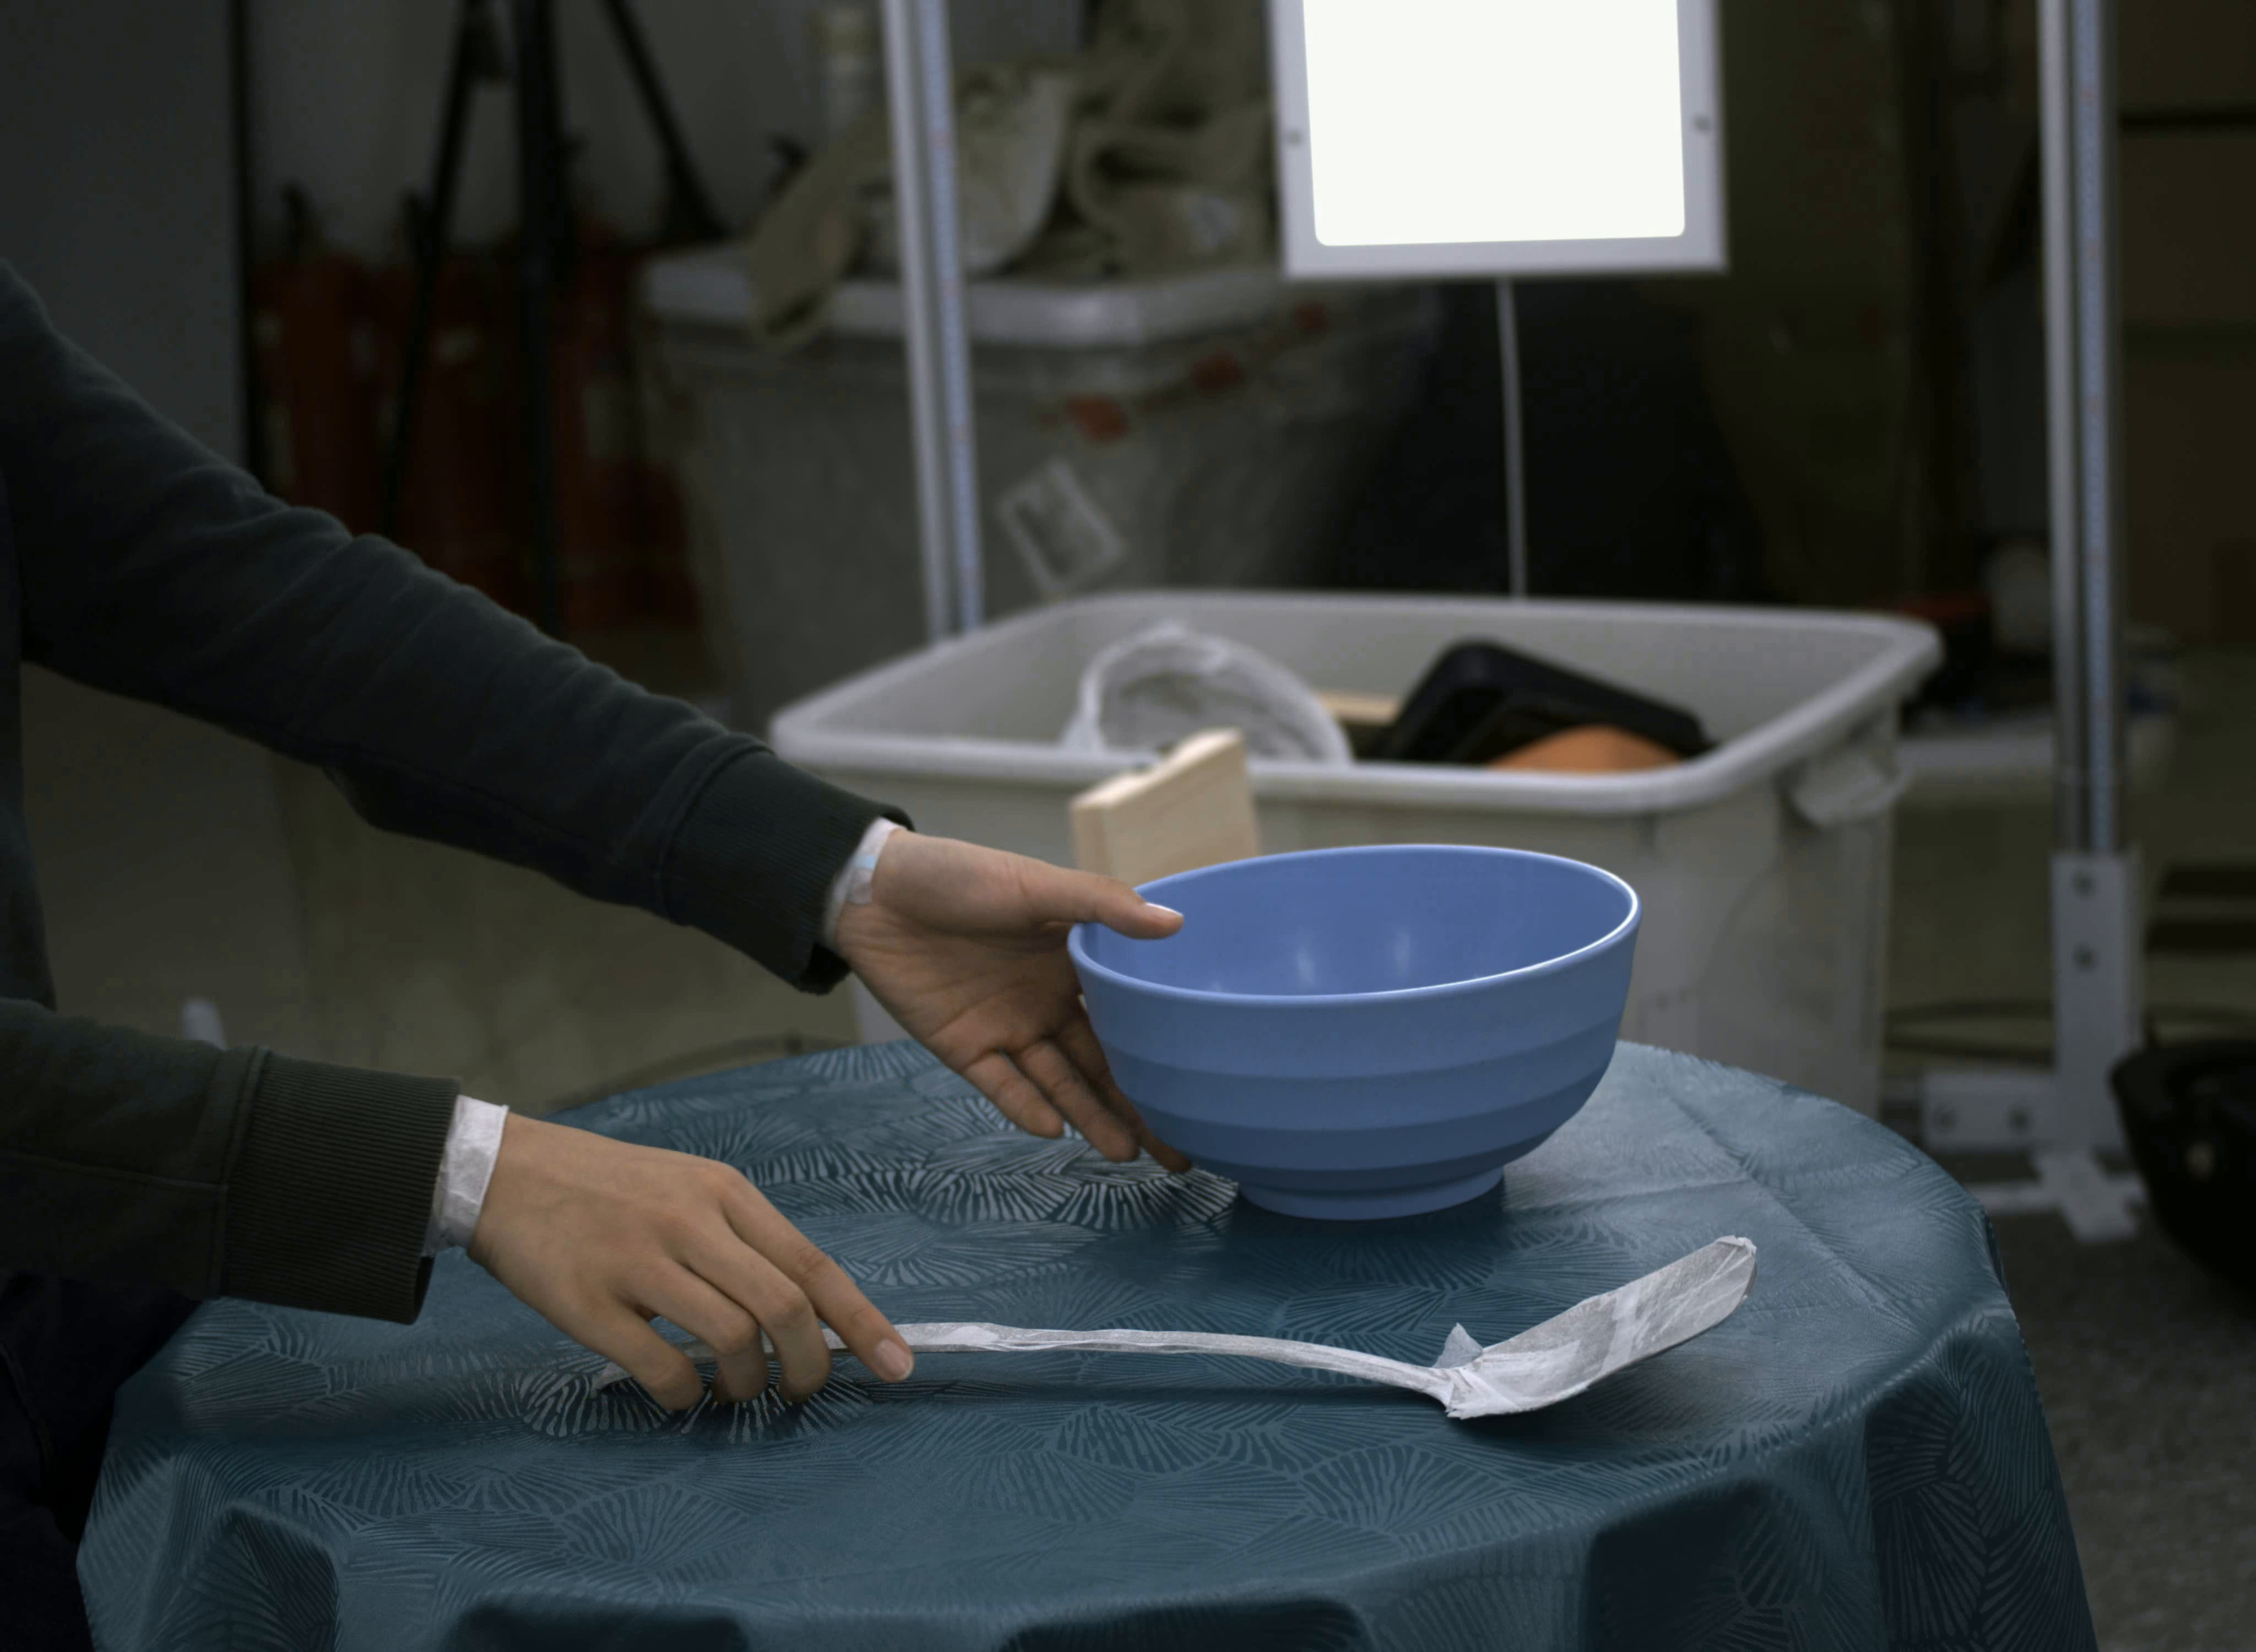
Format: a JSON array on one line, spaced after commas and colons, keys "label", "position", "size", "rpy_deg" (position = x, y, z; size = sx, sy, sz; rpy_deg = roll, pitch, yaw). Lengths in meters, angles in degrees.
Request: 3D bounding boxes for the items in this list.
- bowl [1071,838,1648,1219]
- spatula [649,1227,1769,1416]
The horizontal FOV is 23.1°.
[{"label": "bowl", "position": [0.080, 0.075, 1.877], "size": [0.196, 0.096, 0.196], "rpy_deg": [-3, 15, -1]}, {"label": "spatula", "position": [0.017, 0.154, 1.697], "size": [0.369, 0.045, 0.097], "rpy_deg": [0, 16, 18]}]
